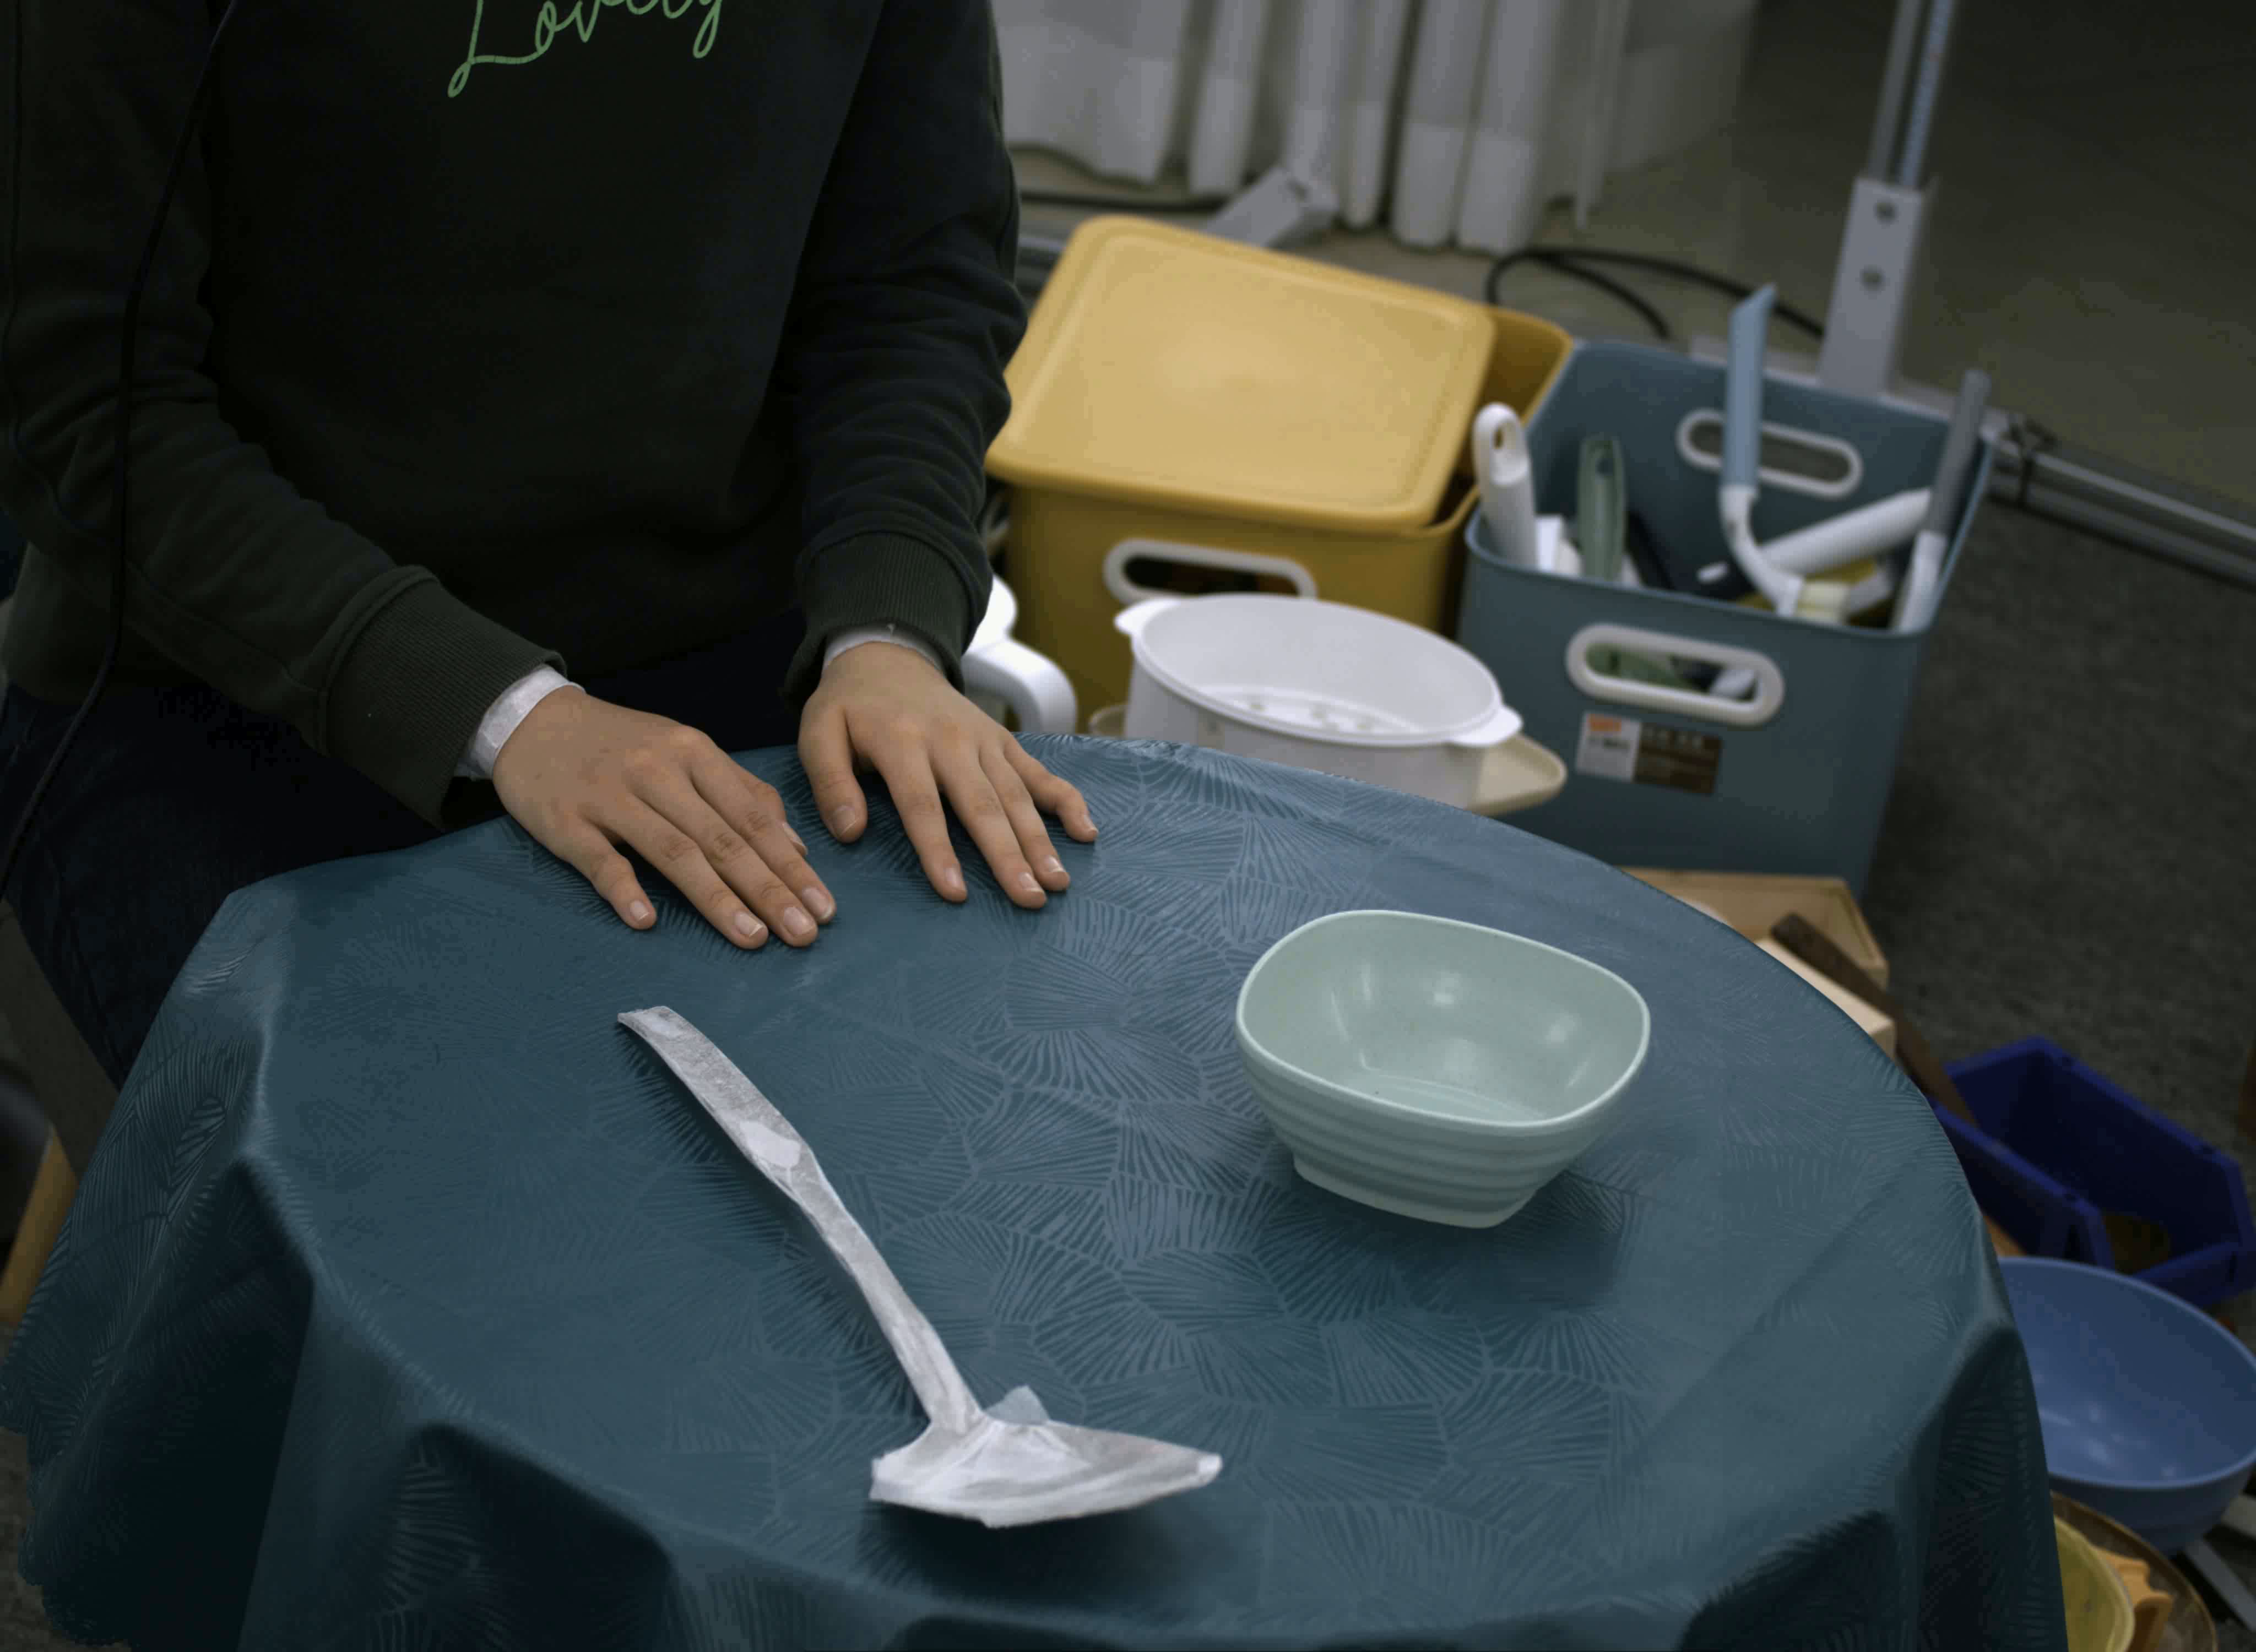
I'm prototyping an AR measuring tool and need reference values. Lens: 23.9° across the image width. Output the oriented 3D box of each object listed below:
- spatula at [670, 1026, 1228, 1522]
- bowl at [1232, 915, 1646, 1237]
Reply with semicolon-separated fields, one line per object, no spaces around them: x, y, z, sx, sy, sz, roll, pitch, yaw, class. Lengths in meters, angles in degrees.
-0.083;0.136;1.715;0.098;0.044;0.368;-8;30;-23;spatula
0.103;0.092;1.830;0.151;0.058;0.152;7;26;-4;bowl
